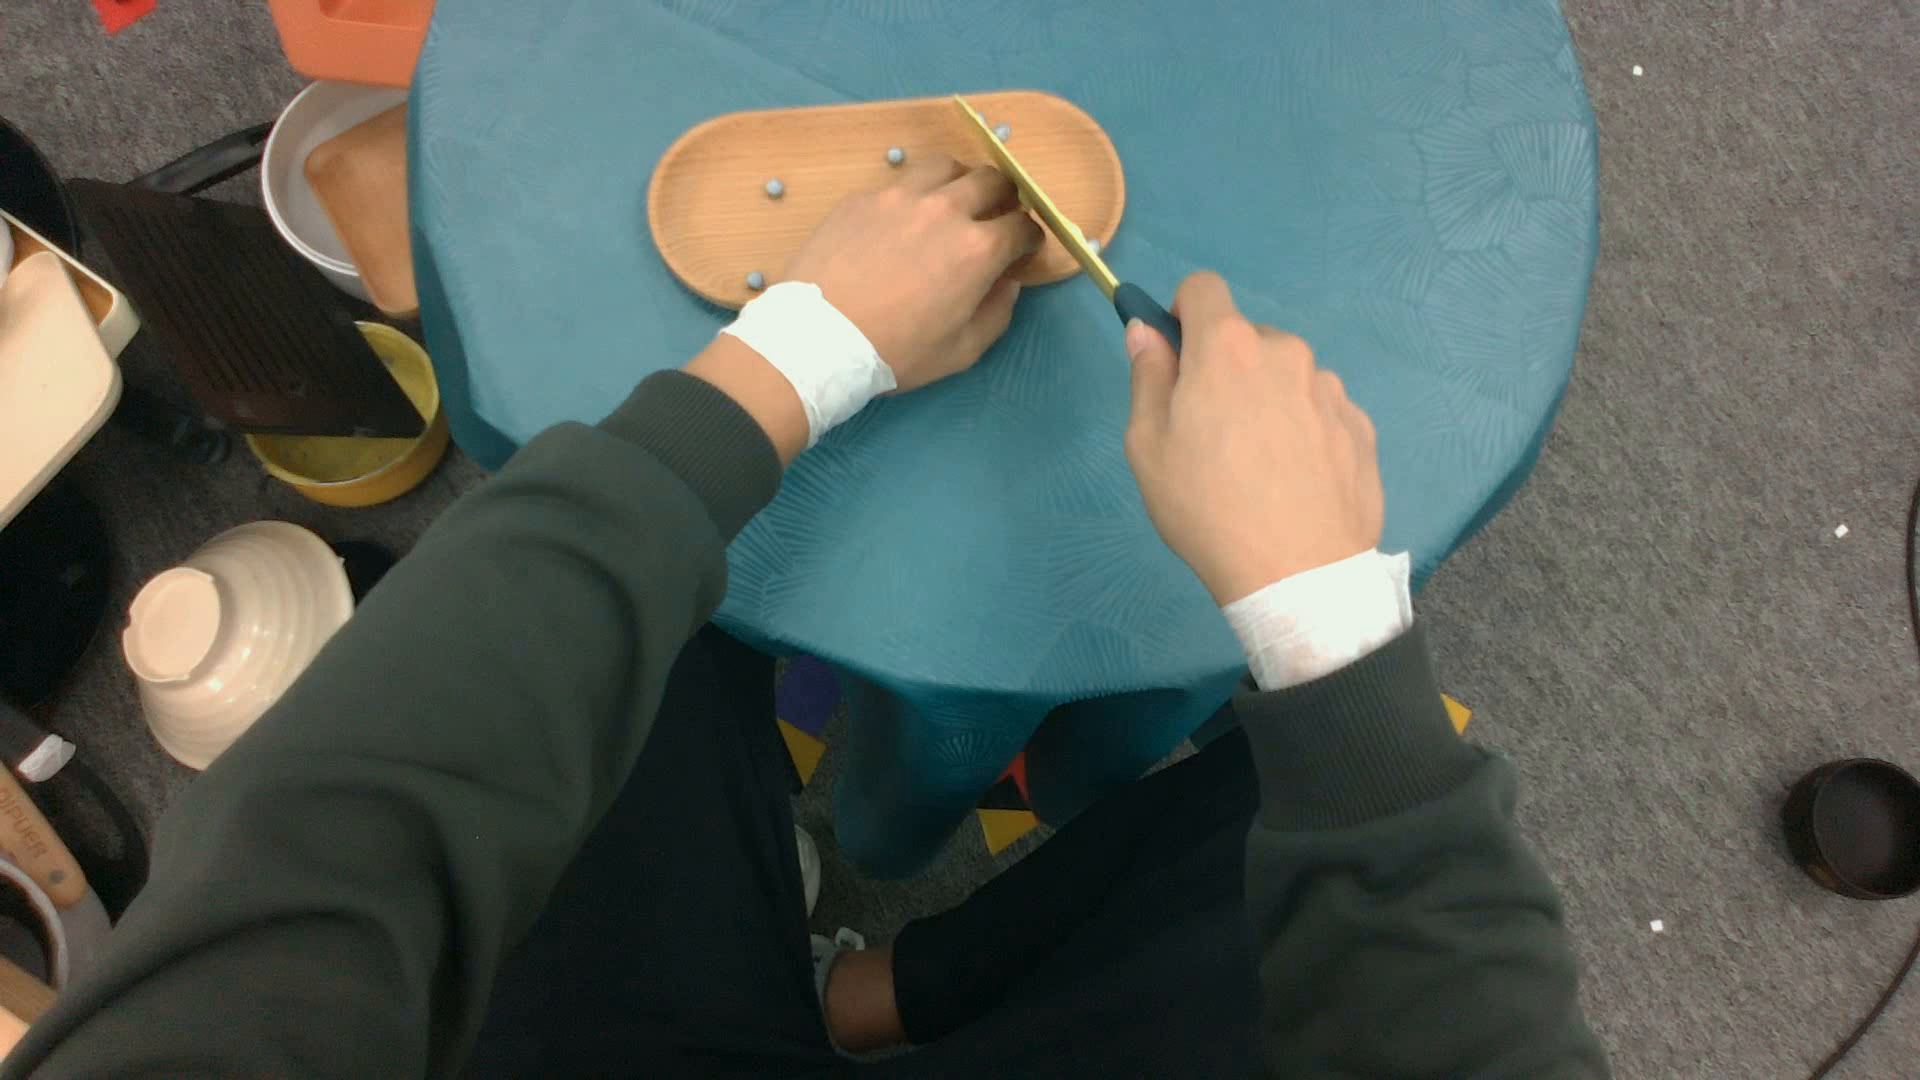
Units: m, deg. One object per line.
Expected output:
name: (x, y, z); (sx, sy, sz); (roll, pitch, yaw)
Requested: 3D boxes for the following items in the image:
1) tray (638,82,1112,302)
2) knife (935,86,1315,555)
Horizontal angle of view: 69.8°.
tray: (-0.039, -0.170, 0.673); (0.231, 0.020, 0.102); (-7, 78, -10)
knife: (0.062, -0.104, 0.596); (0.027, 0.081, 0.290); (-38, 64, 9)
